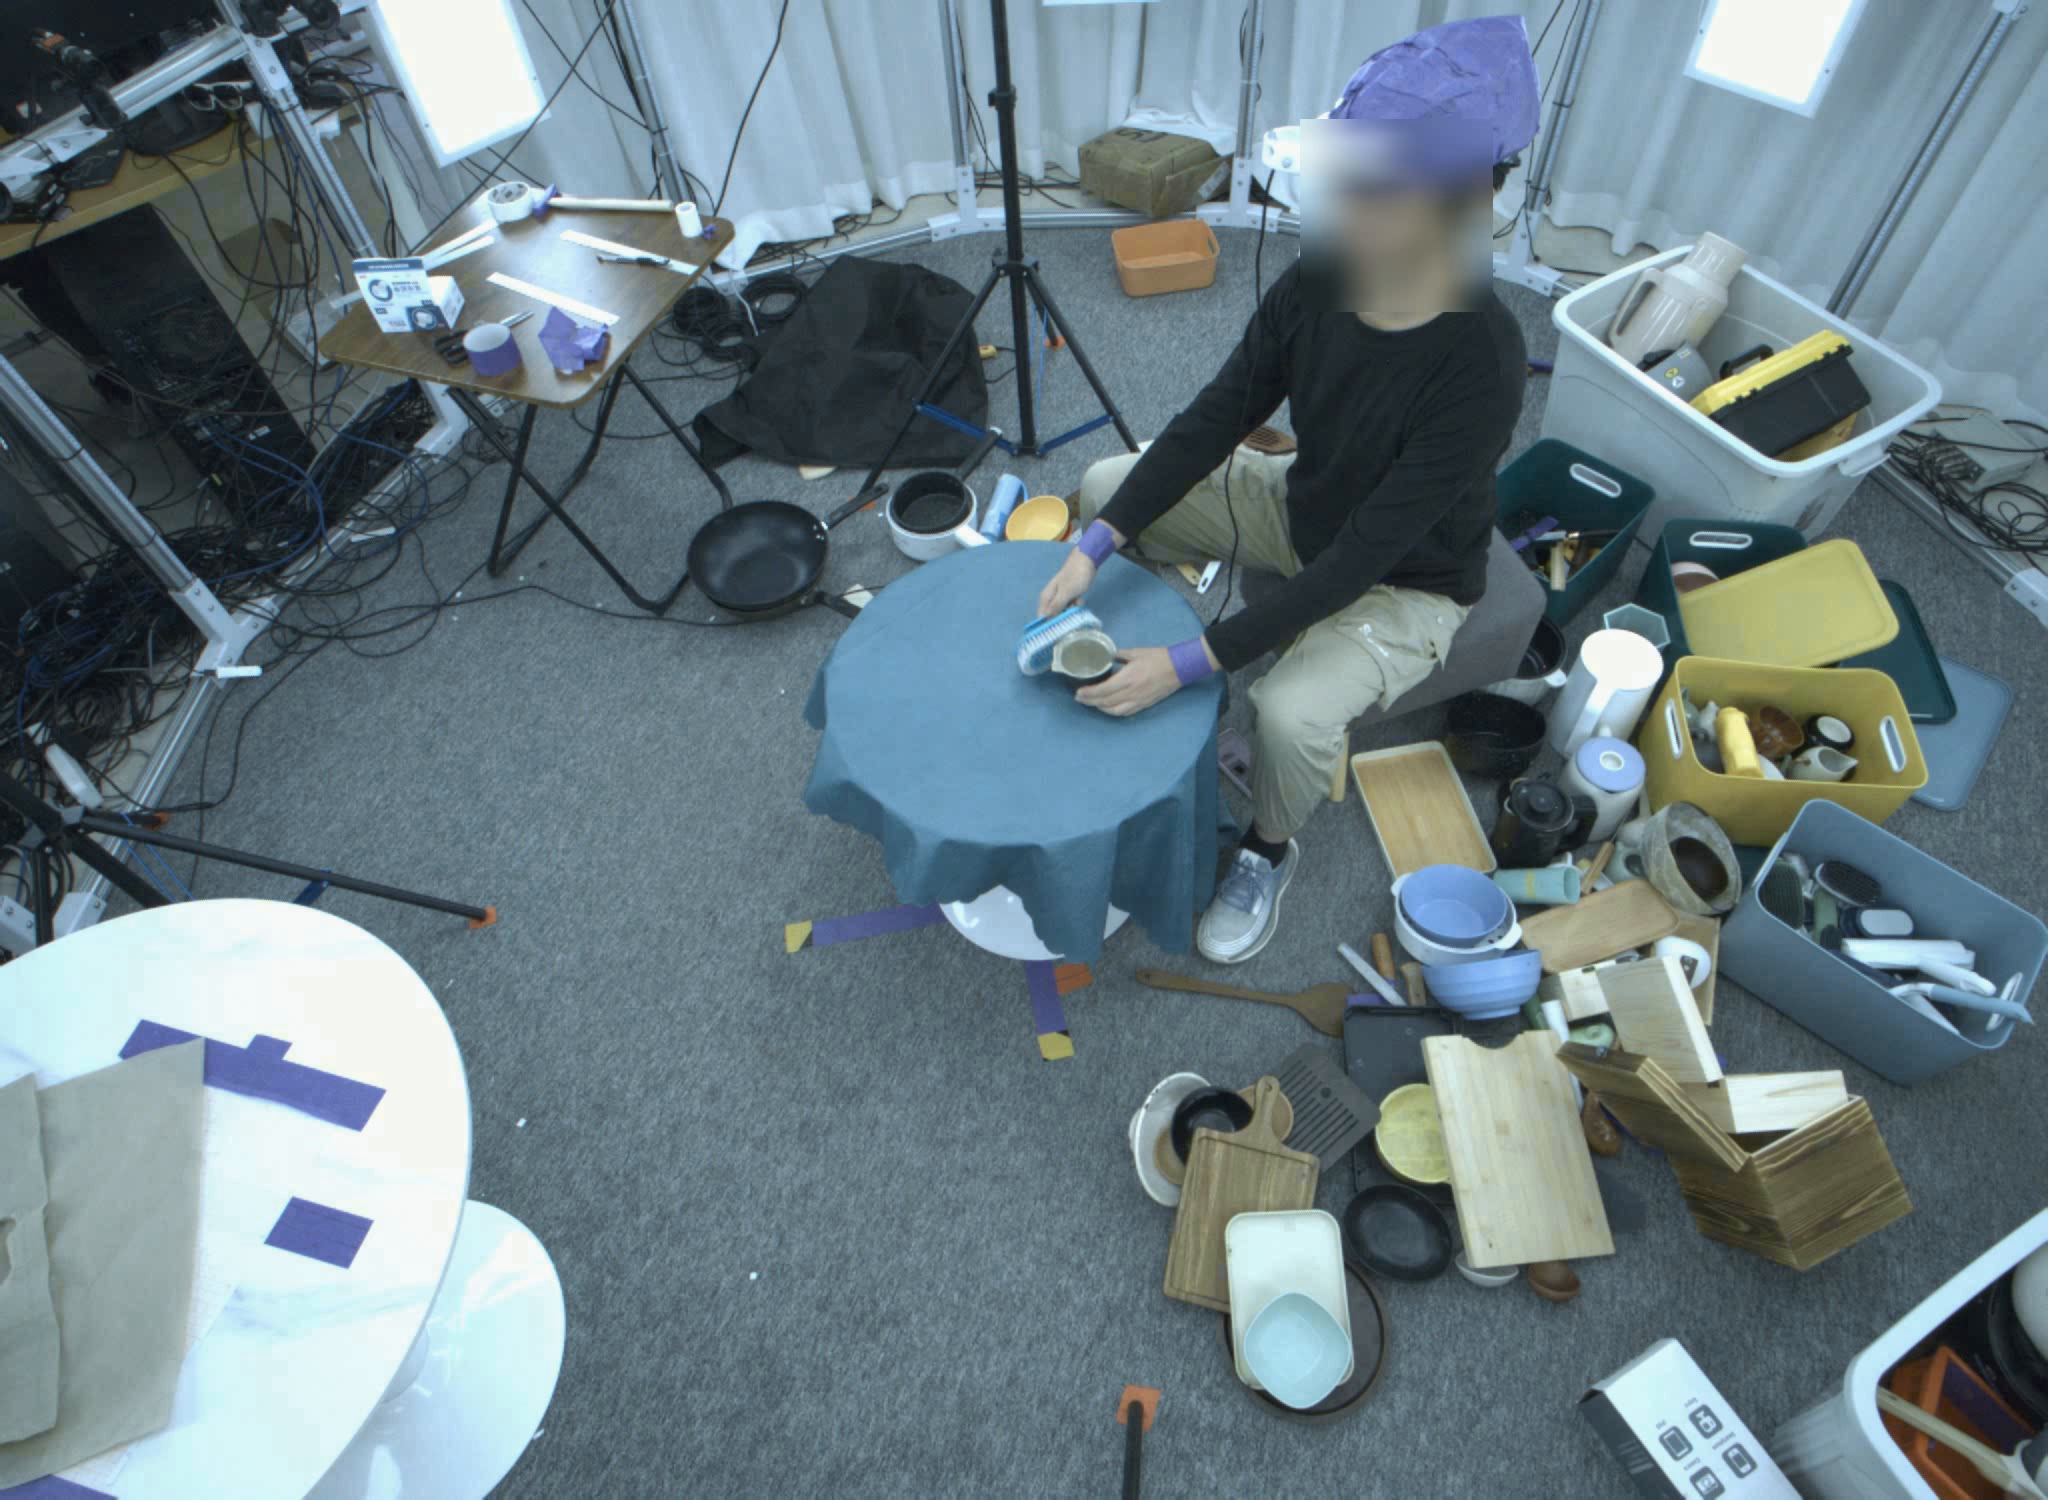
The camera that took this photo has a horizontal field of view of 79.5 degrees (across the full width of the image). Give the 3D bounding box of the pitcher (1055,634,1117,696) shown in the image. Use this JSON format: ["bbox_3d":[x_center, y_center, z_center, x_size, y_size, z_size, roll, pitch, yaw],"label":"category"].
[{"bbox_3d":[0.092,-0.120,1.825,0.096,0.072,0.082,-22,58,-11],"label":"pitcher"}]

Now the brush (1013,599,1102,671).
[{"bbox_3d":[0.044,-0.182,1.854,0.142,0.085,0.063,-31,63,-4],"label":"brush"}]
